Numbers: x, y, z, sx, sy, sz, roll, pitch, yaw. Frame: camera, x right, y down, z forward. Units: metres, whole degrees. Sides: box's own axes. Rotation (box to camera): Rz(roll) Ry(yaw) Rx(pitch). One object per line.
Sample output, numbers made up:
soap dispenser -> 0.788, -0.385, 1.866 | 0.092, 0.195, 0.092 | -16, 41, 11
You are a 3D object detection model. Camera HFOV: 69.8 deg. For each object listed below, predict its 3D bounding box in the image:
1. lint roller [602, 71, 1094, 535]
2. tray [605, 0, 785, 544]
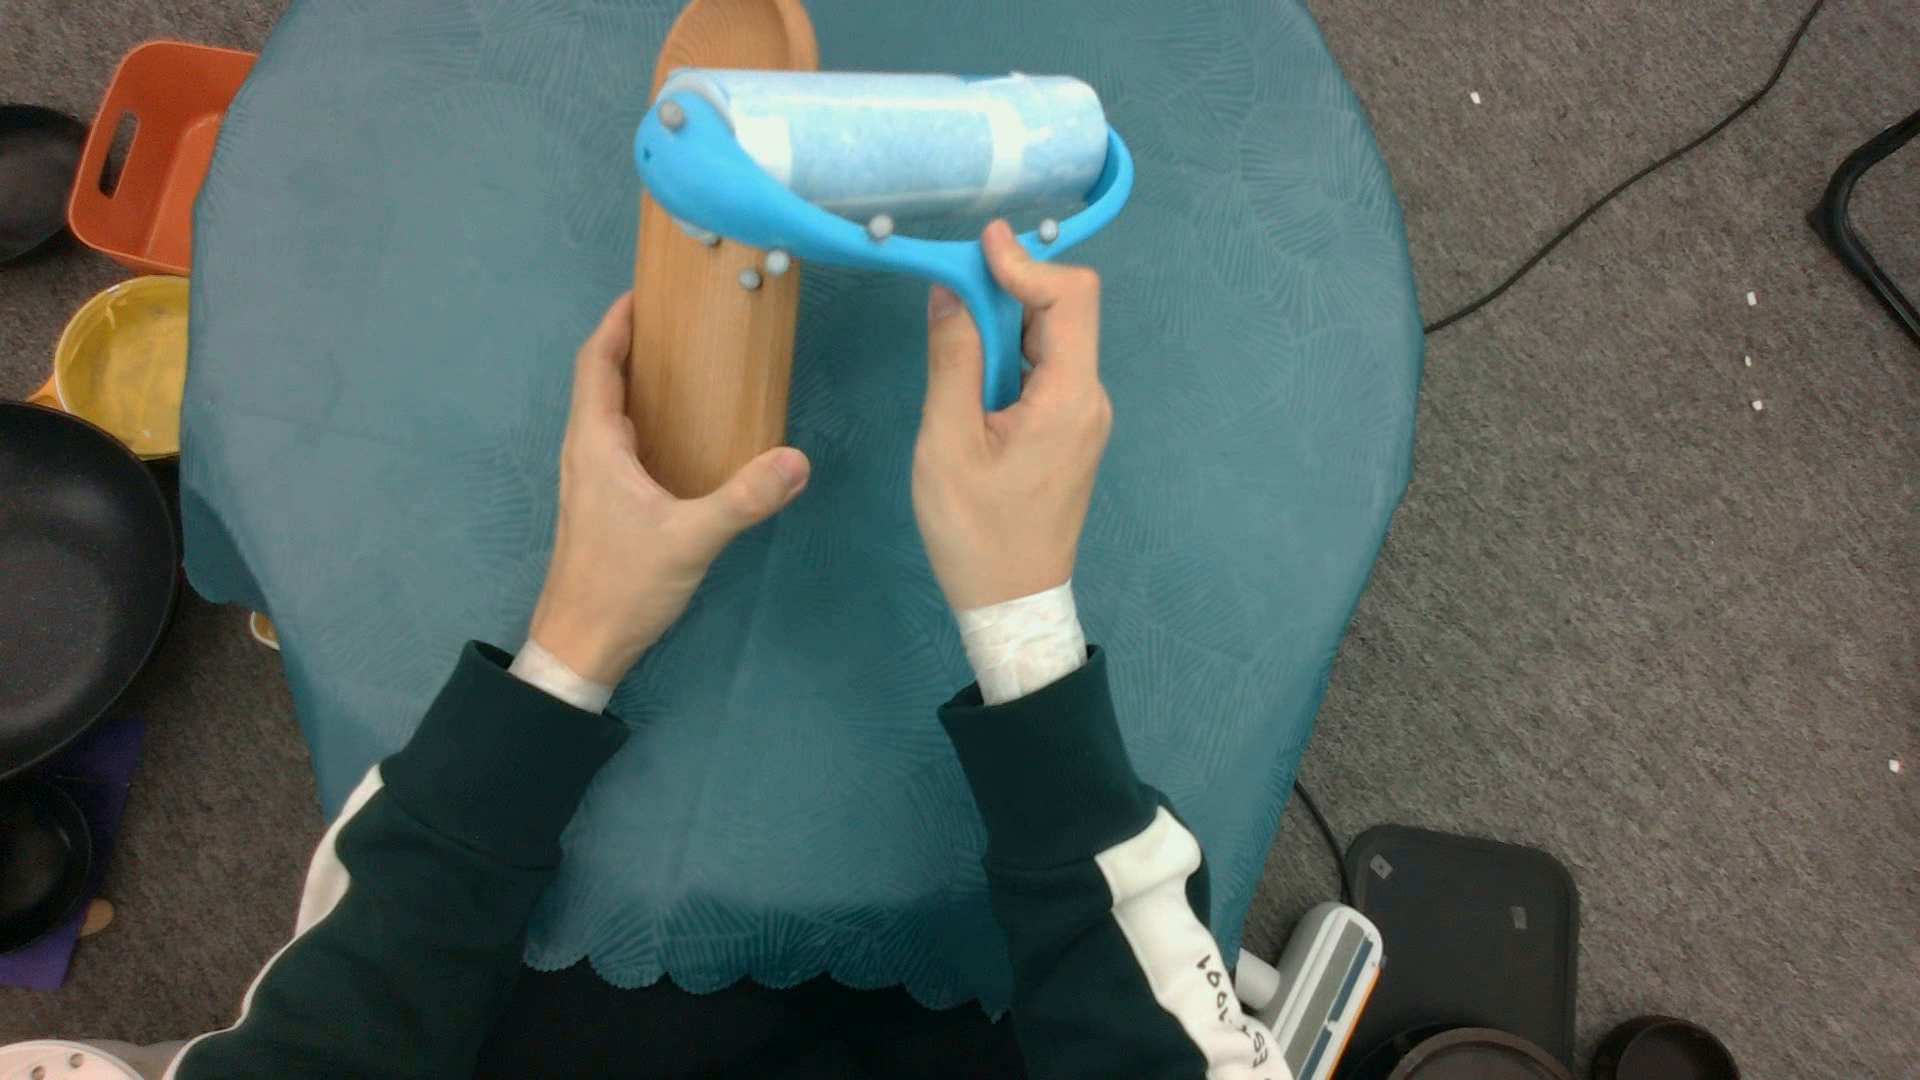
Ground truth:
lint roller -> -0.016, -0.093, 0.535 | 0.230, 0.067, 0.180 | -25, 98, -45
tray -> -0.110, -0.114, 0.567 | 0.020, 0.101, 0.231 | -2, 95, -46
